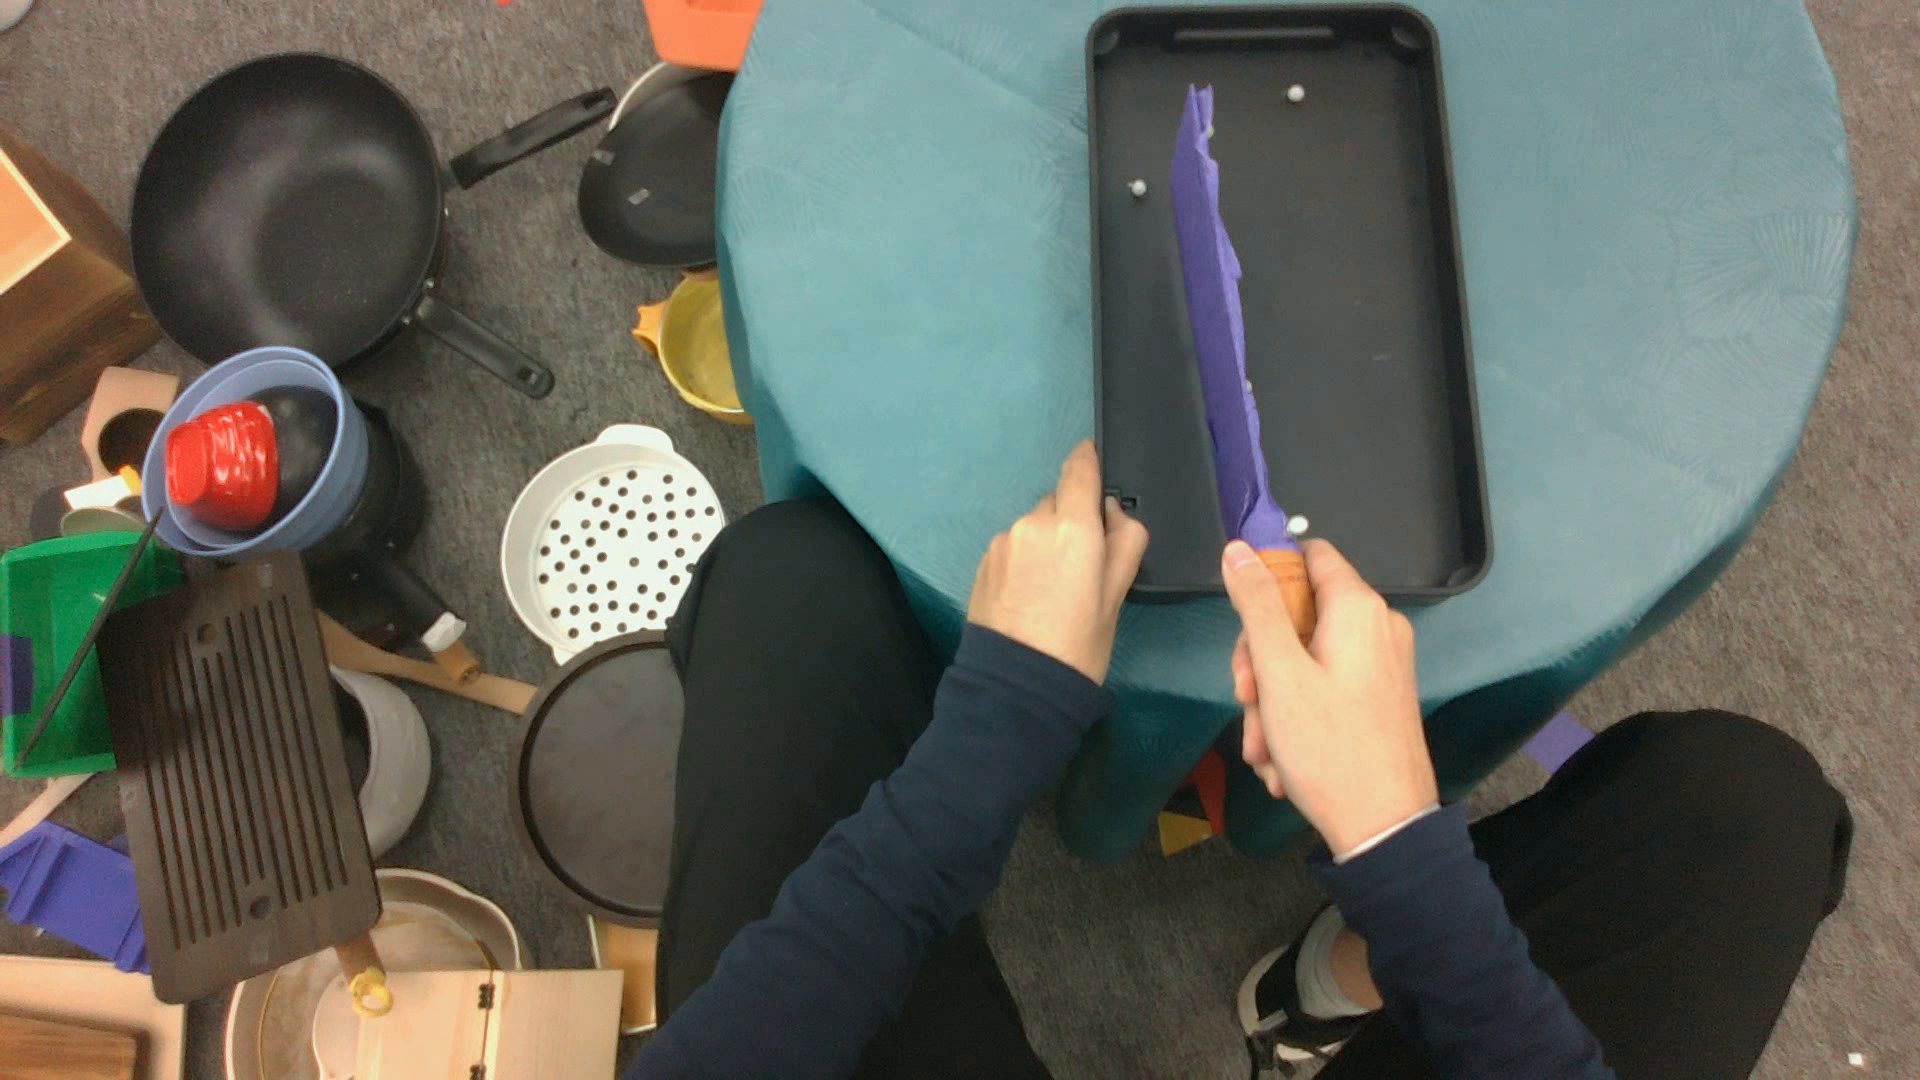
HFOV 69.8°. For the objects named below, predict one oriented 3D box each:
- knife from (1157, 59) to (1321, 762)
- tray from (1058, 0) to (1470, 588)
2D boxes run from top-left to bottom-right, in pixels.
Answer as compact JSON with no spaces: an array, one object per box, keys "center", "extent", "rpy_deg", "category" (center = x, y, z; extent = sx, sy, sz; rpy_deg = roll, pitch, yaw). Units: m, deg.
[{"center":[0.122,-0.056,0.631],"extent":[0.032,0.103,0.316],"rpy_deg":[-6,77,4],"category":"knife"},{"center":[0.146,-0.132,0.702],"extent":[0.184,0.037,0.318],"rpy_deg":[-1,74,-1],"category":"tray"}]
